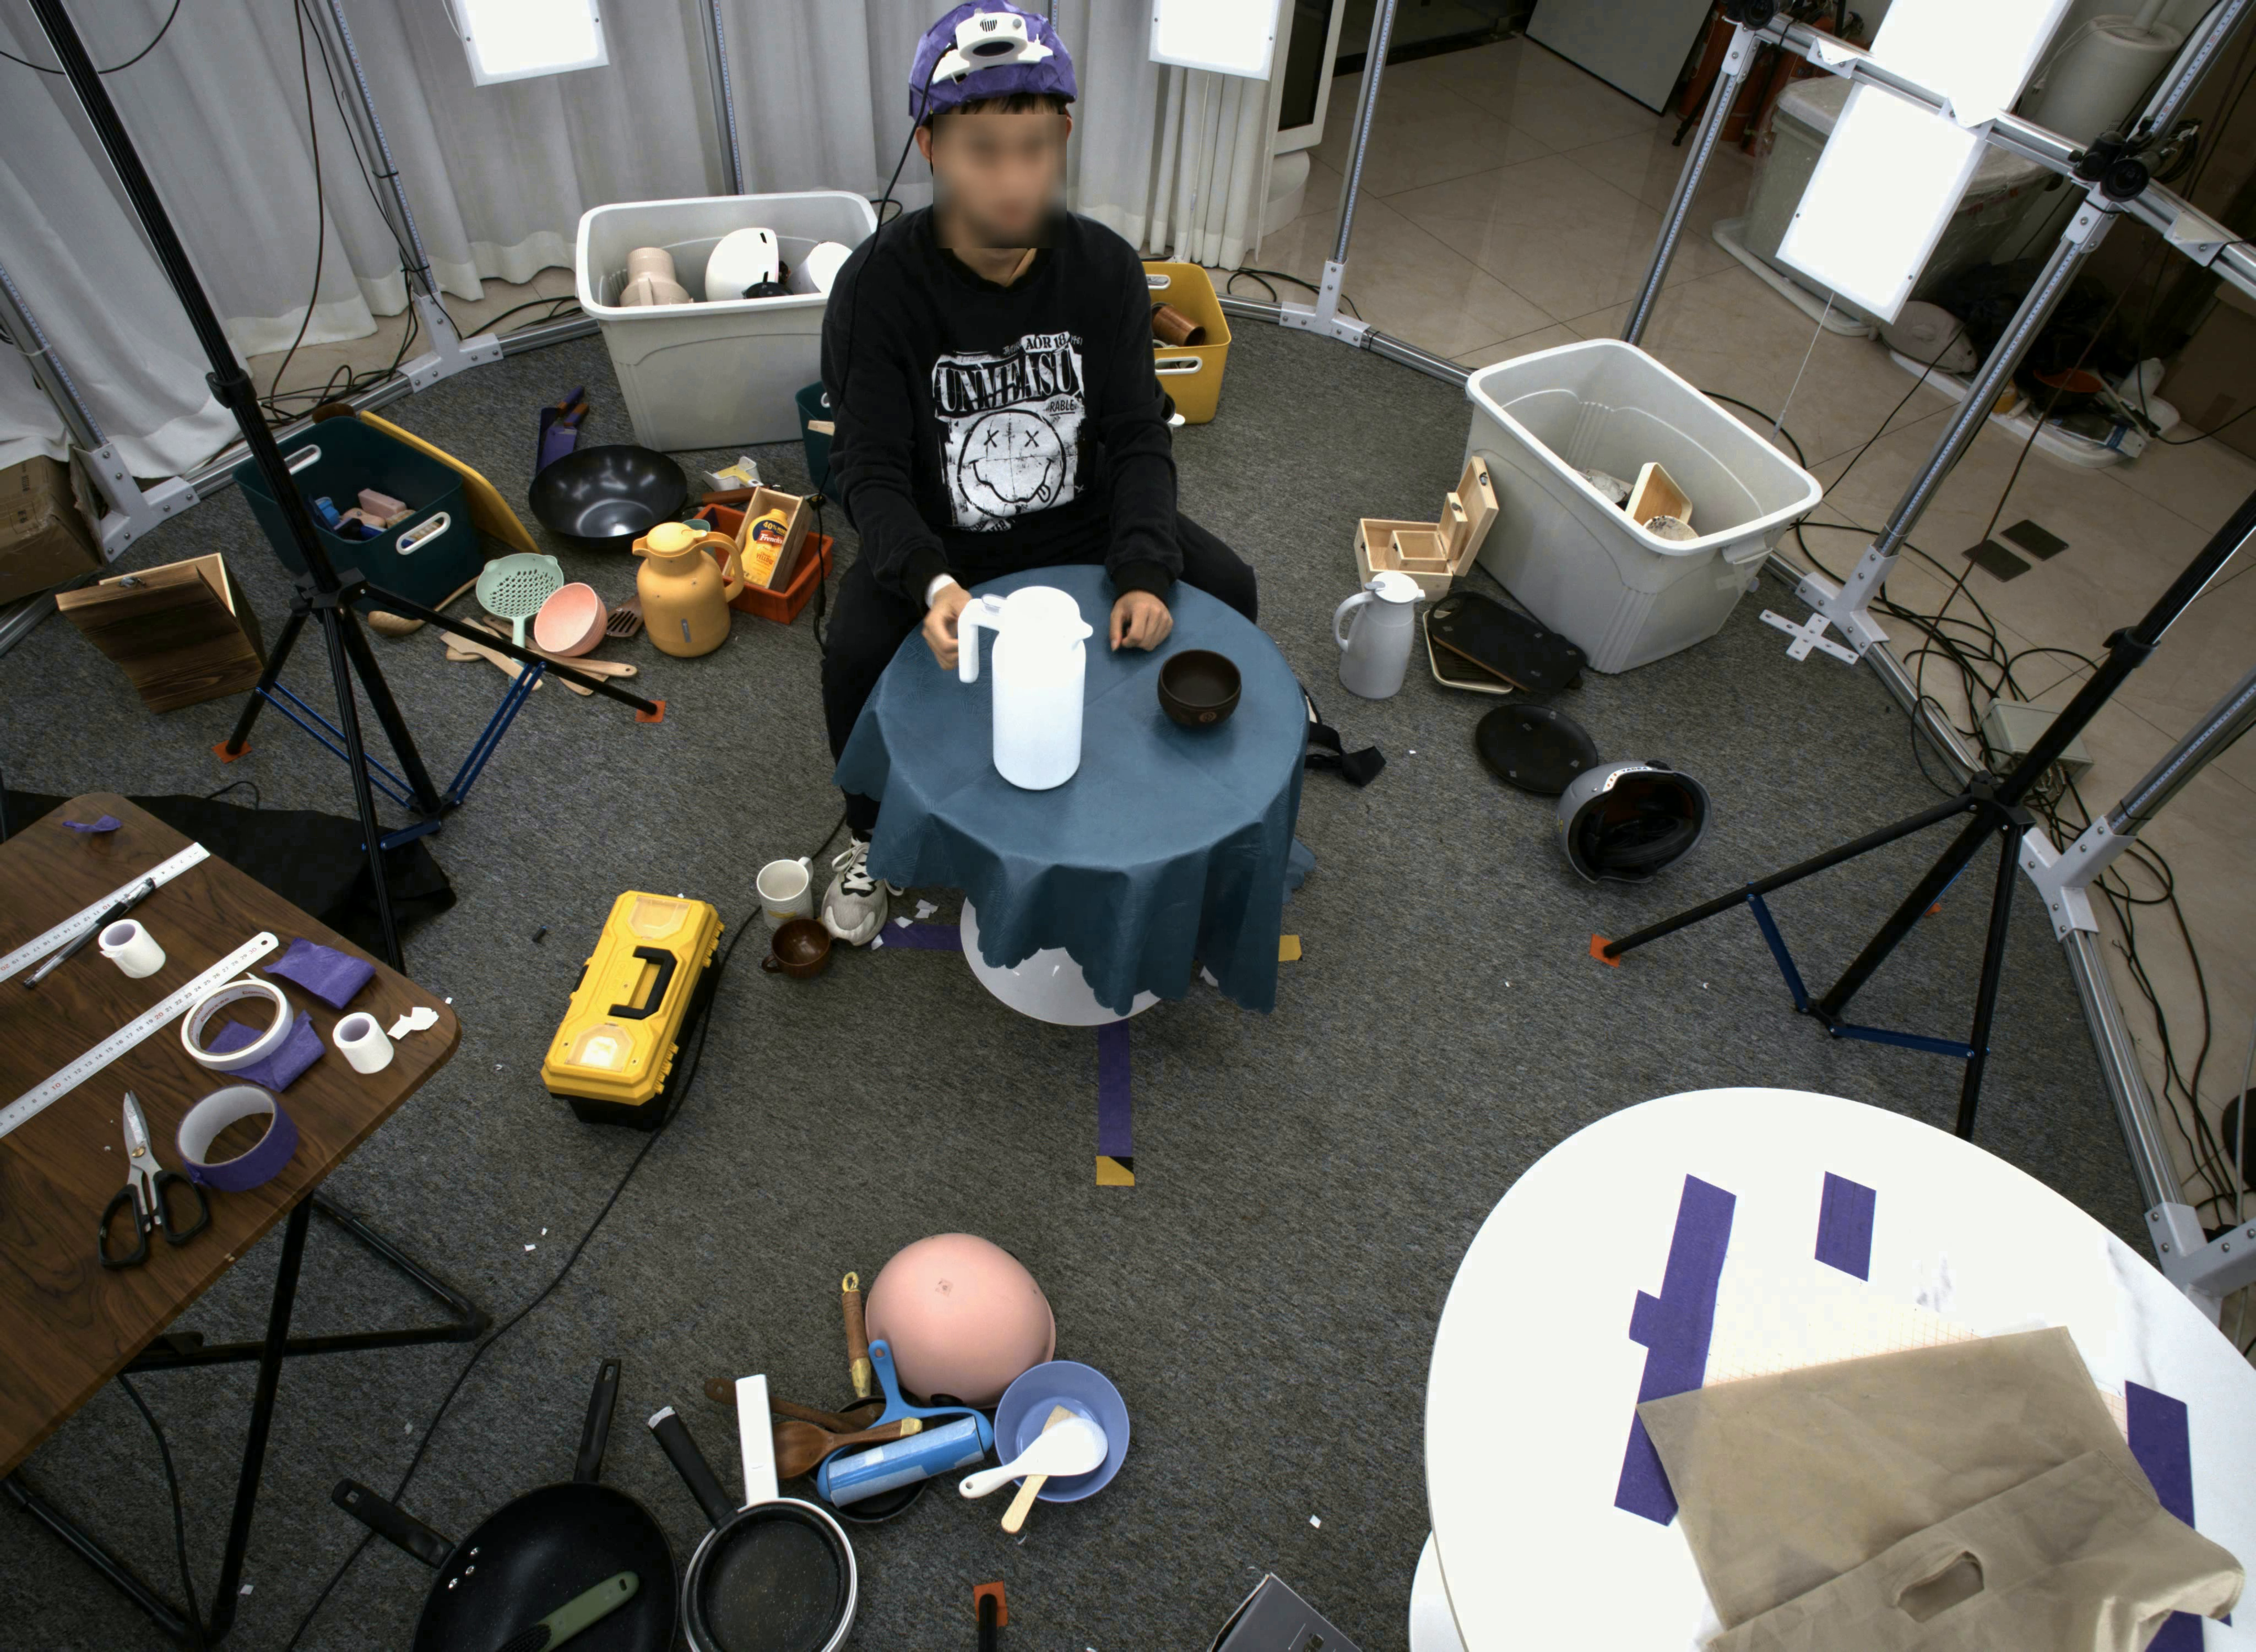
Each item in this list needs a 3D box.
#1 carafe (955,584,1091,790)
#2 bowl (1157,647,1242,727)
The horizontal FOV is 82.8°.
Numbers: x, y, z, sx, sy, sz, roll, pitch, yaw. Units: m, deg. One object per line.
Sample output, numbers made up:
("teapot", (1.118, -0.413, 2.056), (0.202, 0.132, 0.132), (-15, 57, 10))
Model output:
("carafe", (-0.134, -0.176, 1.642), (0.173, 0.262, 0.126), (15, 52, 9))
("bowl", (0.098, -0.185, 1.788), (0.118, 0.068, 0.121), (1, 49, -2))
